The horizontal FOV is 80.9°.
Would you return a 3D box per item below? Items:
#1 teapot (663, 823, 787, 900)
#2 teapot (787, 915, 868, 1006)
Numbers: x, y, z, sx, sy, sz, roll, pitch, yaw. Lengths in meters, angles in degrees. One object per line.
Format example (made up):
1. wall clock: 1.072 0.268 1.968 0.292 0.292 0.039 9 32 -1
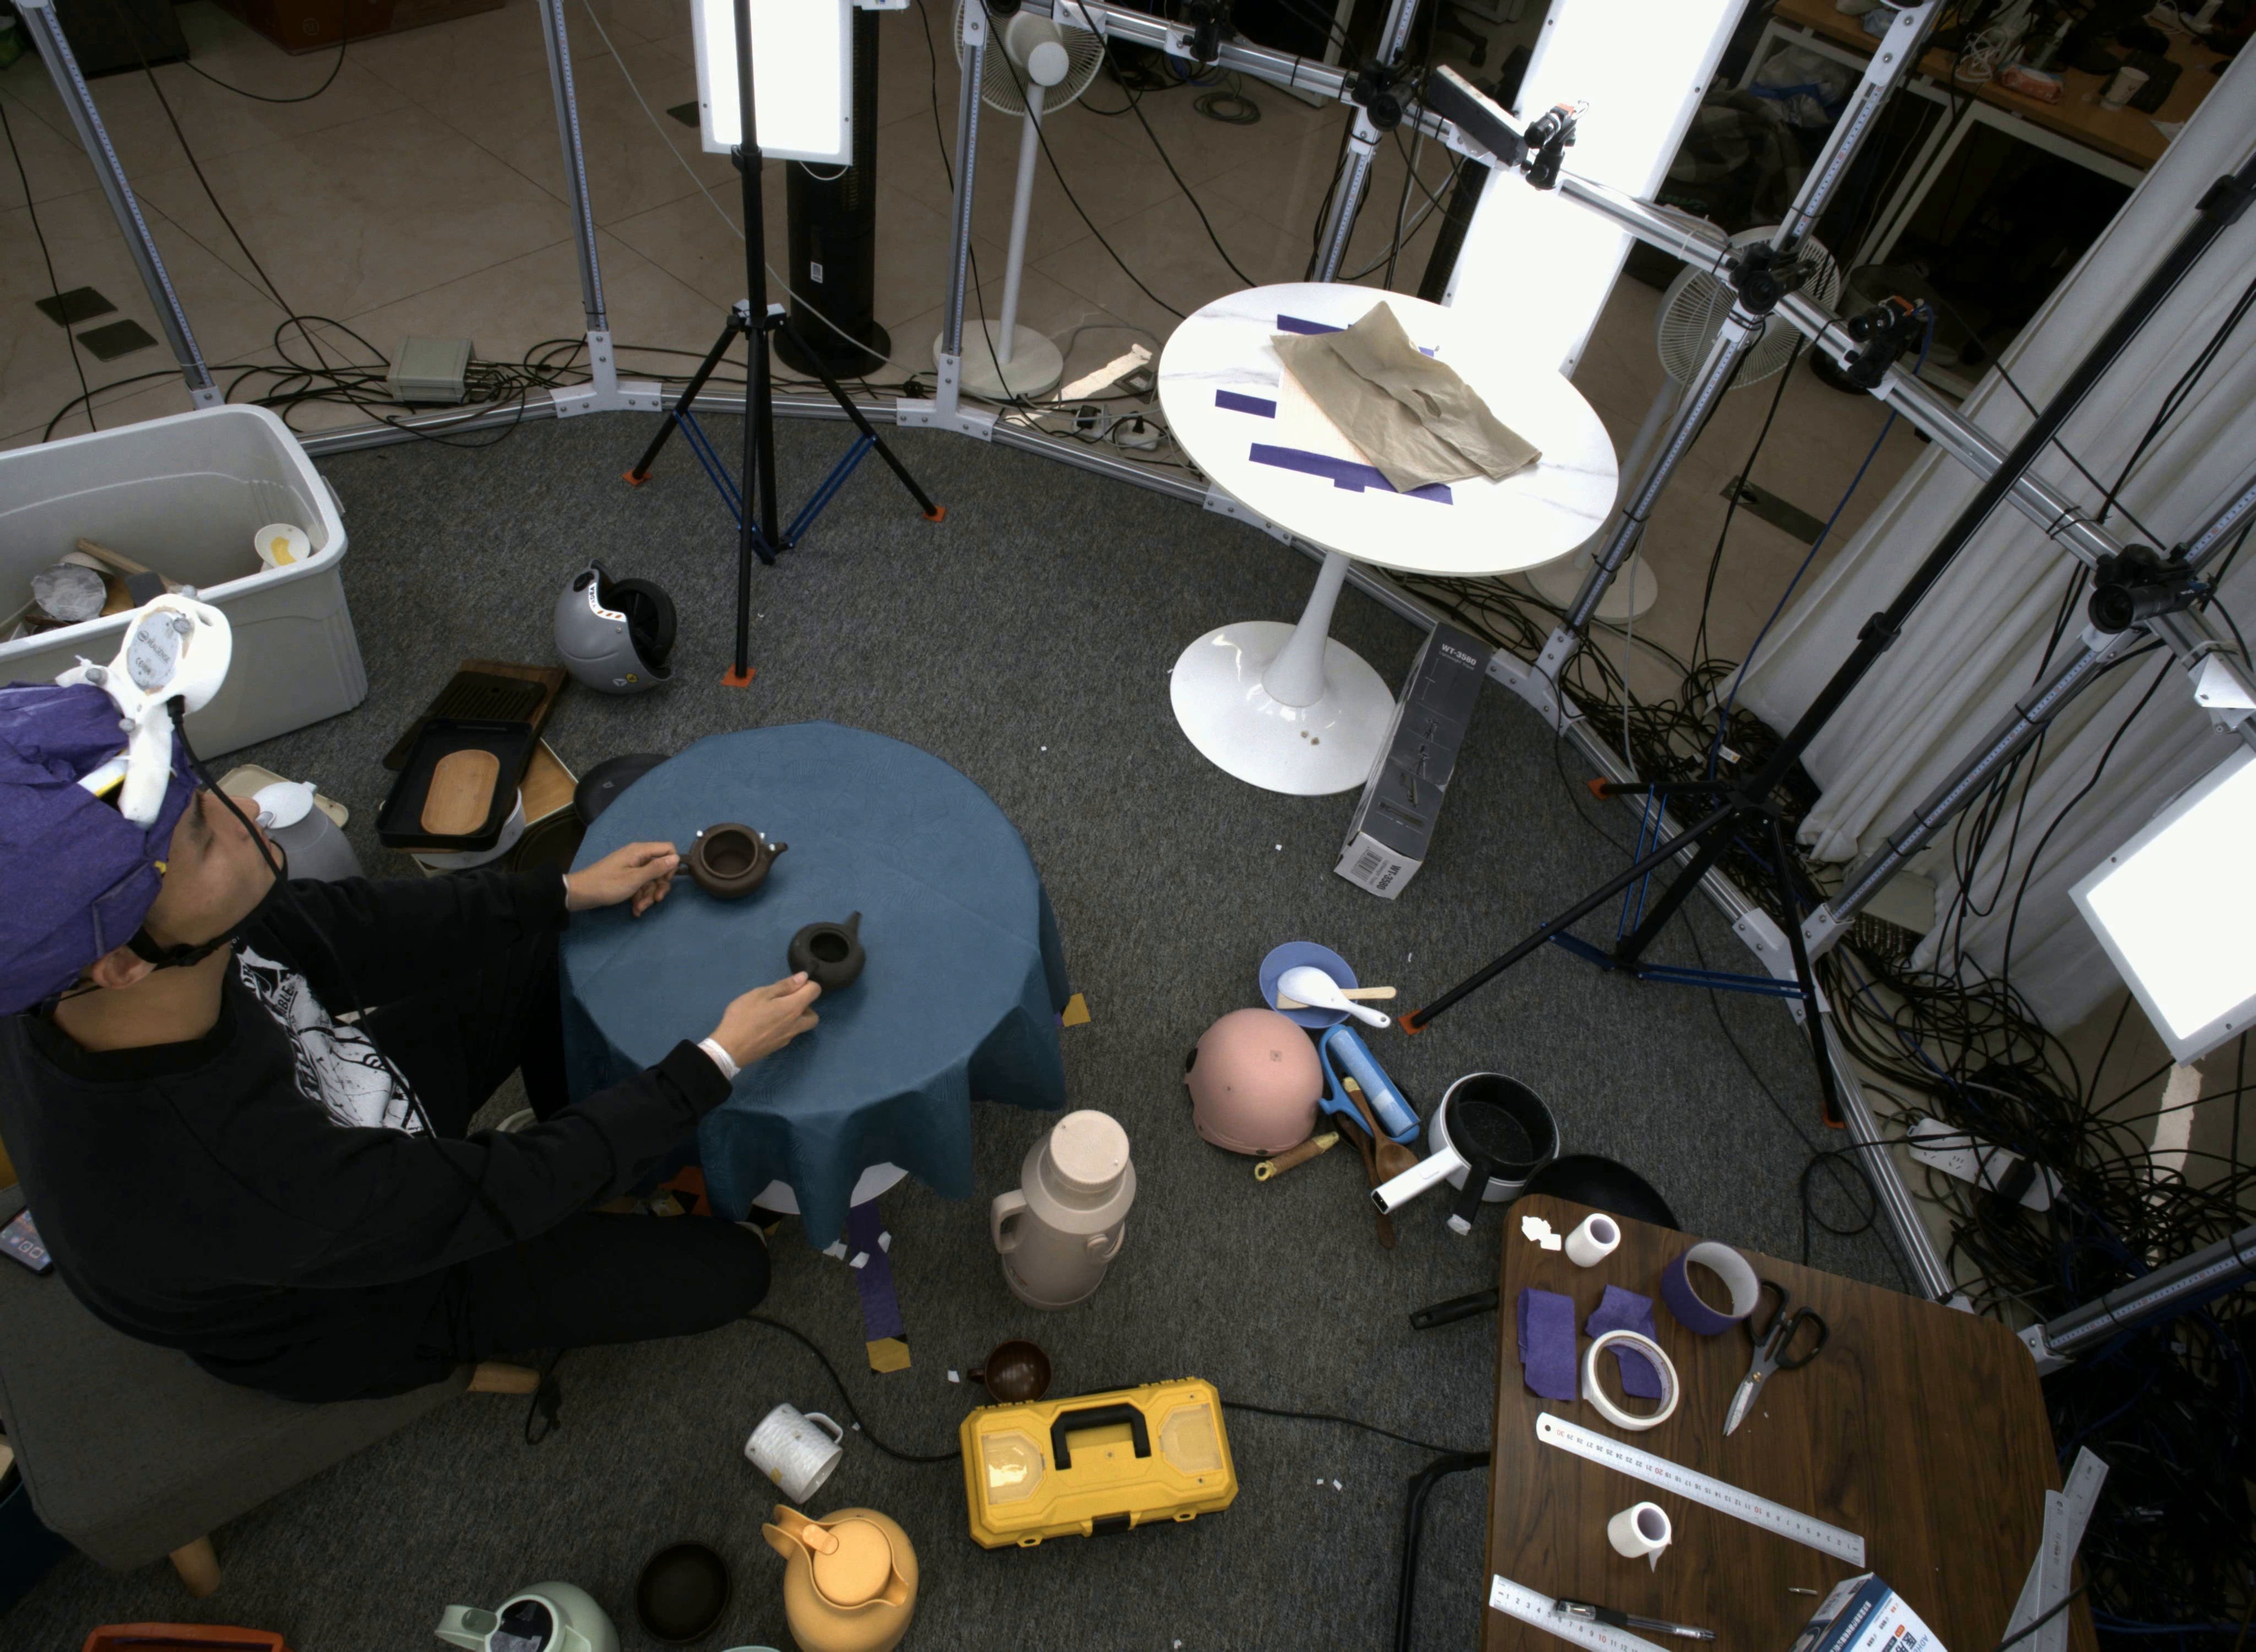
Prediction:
1. teapot: -0.507 0.043 1.628 0.154 0.054 0.101 -11 64 -23
2. teapot: -0.363 0.162 1.565 0.091 0.065 0.153 31 41 5
